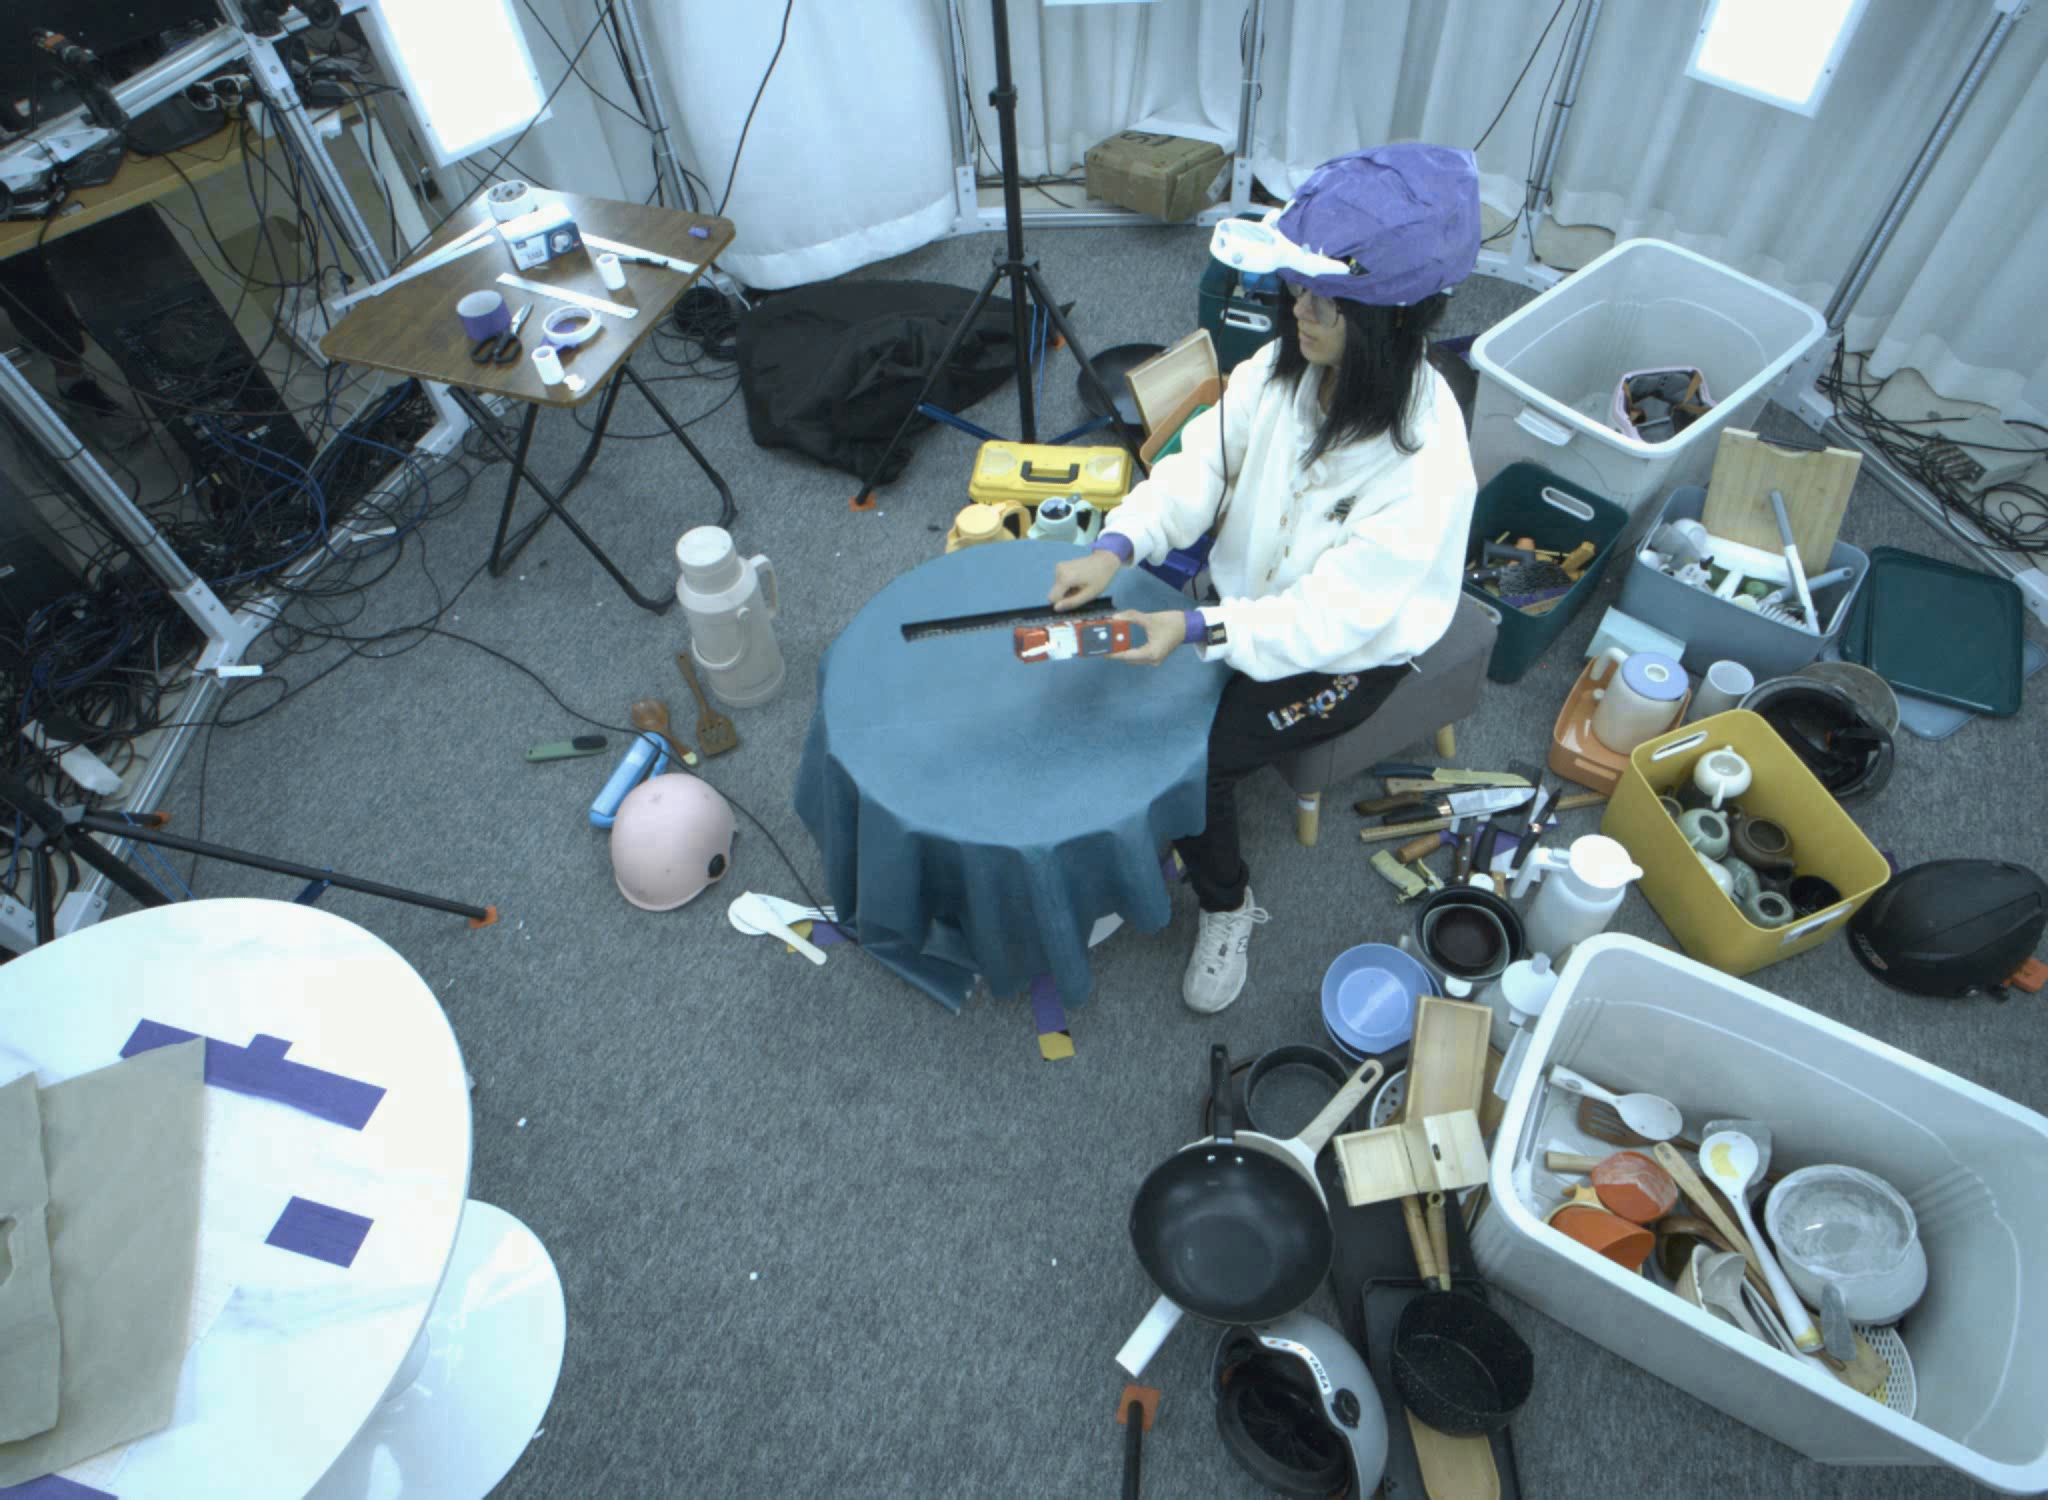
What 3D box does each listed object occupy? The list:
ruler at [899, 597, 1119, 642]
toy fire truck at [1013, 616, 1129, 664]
[{"bbox_3d":[-0.020,-0.185,1.729,0.315,0.017,0.038,-9,33,-14],"label":"ruler"},{"bbox_3d":[0.067,-0.155,1.727,0.170,0.054,0.069,-9,21,-16],"label":"toy fire truck"}]
